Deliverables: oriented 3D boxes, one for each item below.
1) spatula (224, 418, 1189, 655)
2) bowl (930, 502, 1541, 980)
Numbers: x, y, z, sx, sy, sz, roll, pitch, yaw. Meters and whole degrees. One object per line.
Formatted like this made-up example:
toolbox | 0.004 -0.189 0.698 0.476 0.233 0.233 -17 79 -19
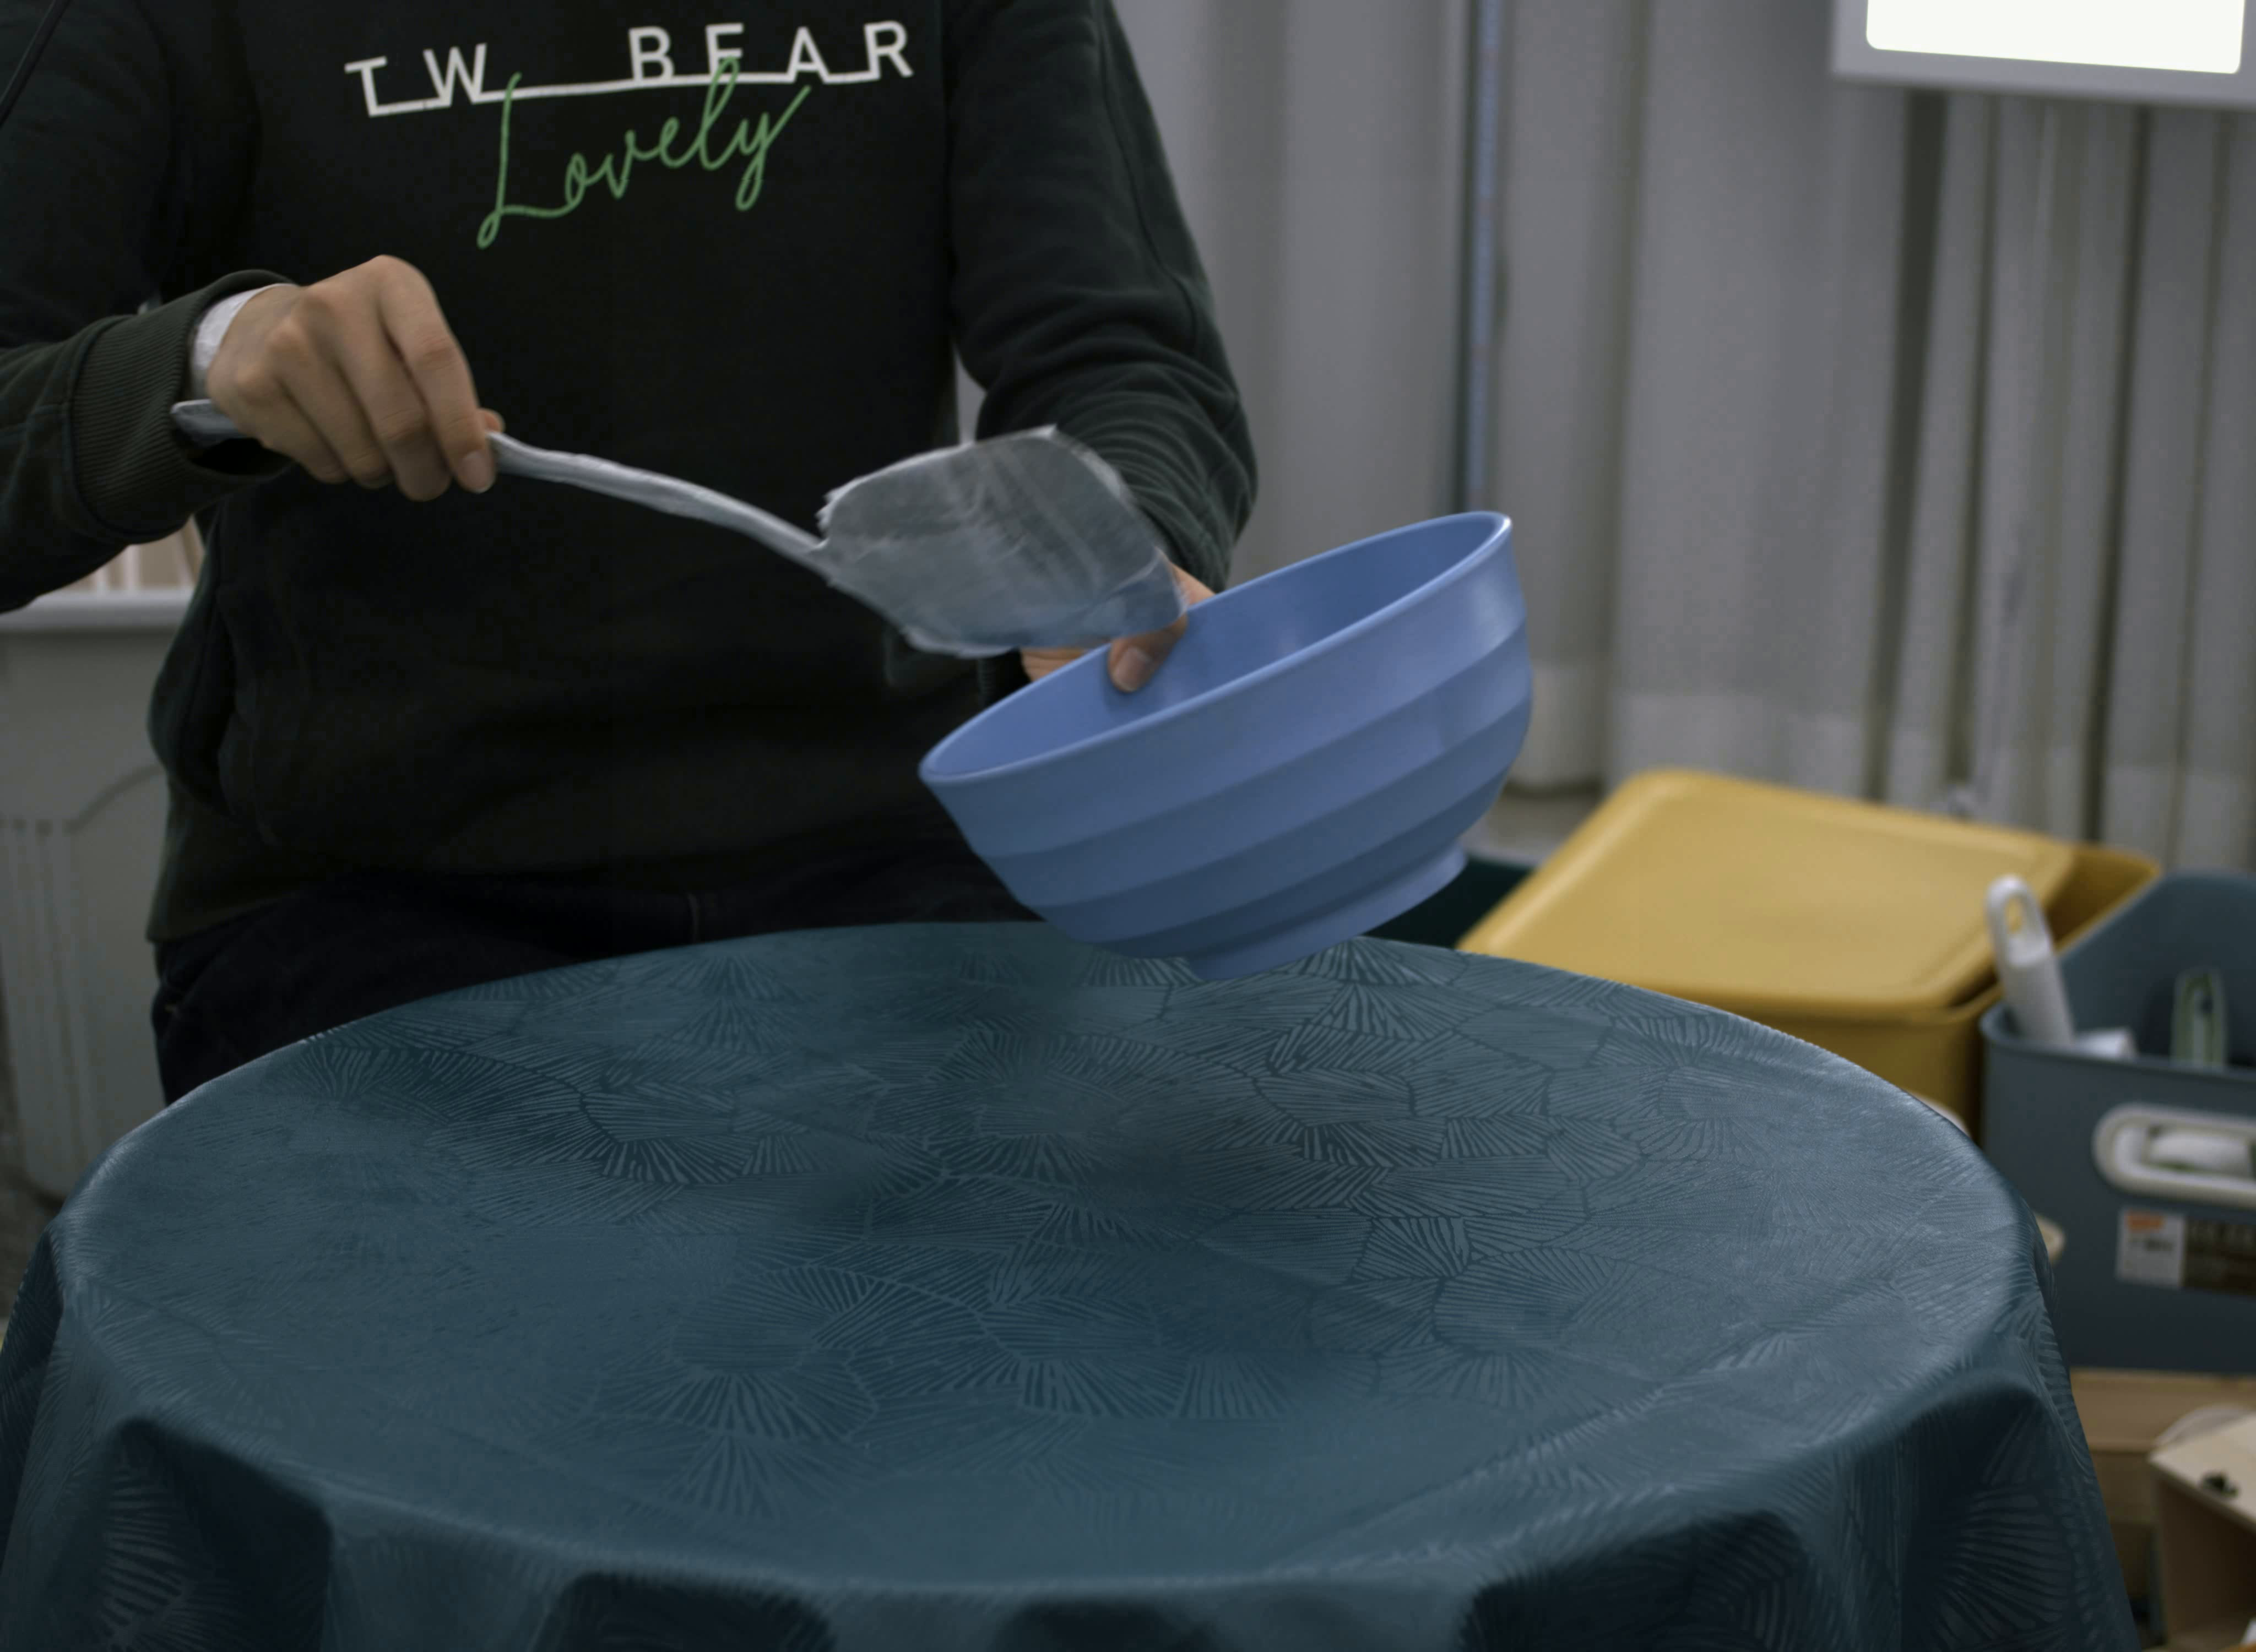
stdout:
spatula | -0.145 -0.104 1.611 0.360 0.100 0.045 14 66 34
bowl | 0.047 -0.015 1.615 0.196 0.096 0.195 -24 11 6
